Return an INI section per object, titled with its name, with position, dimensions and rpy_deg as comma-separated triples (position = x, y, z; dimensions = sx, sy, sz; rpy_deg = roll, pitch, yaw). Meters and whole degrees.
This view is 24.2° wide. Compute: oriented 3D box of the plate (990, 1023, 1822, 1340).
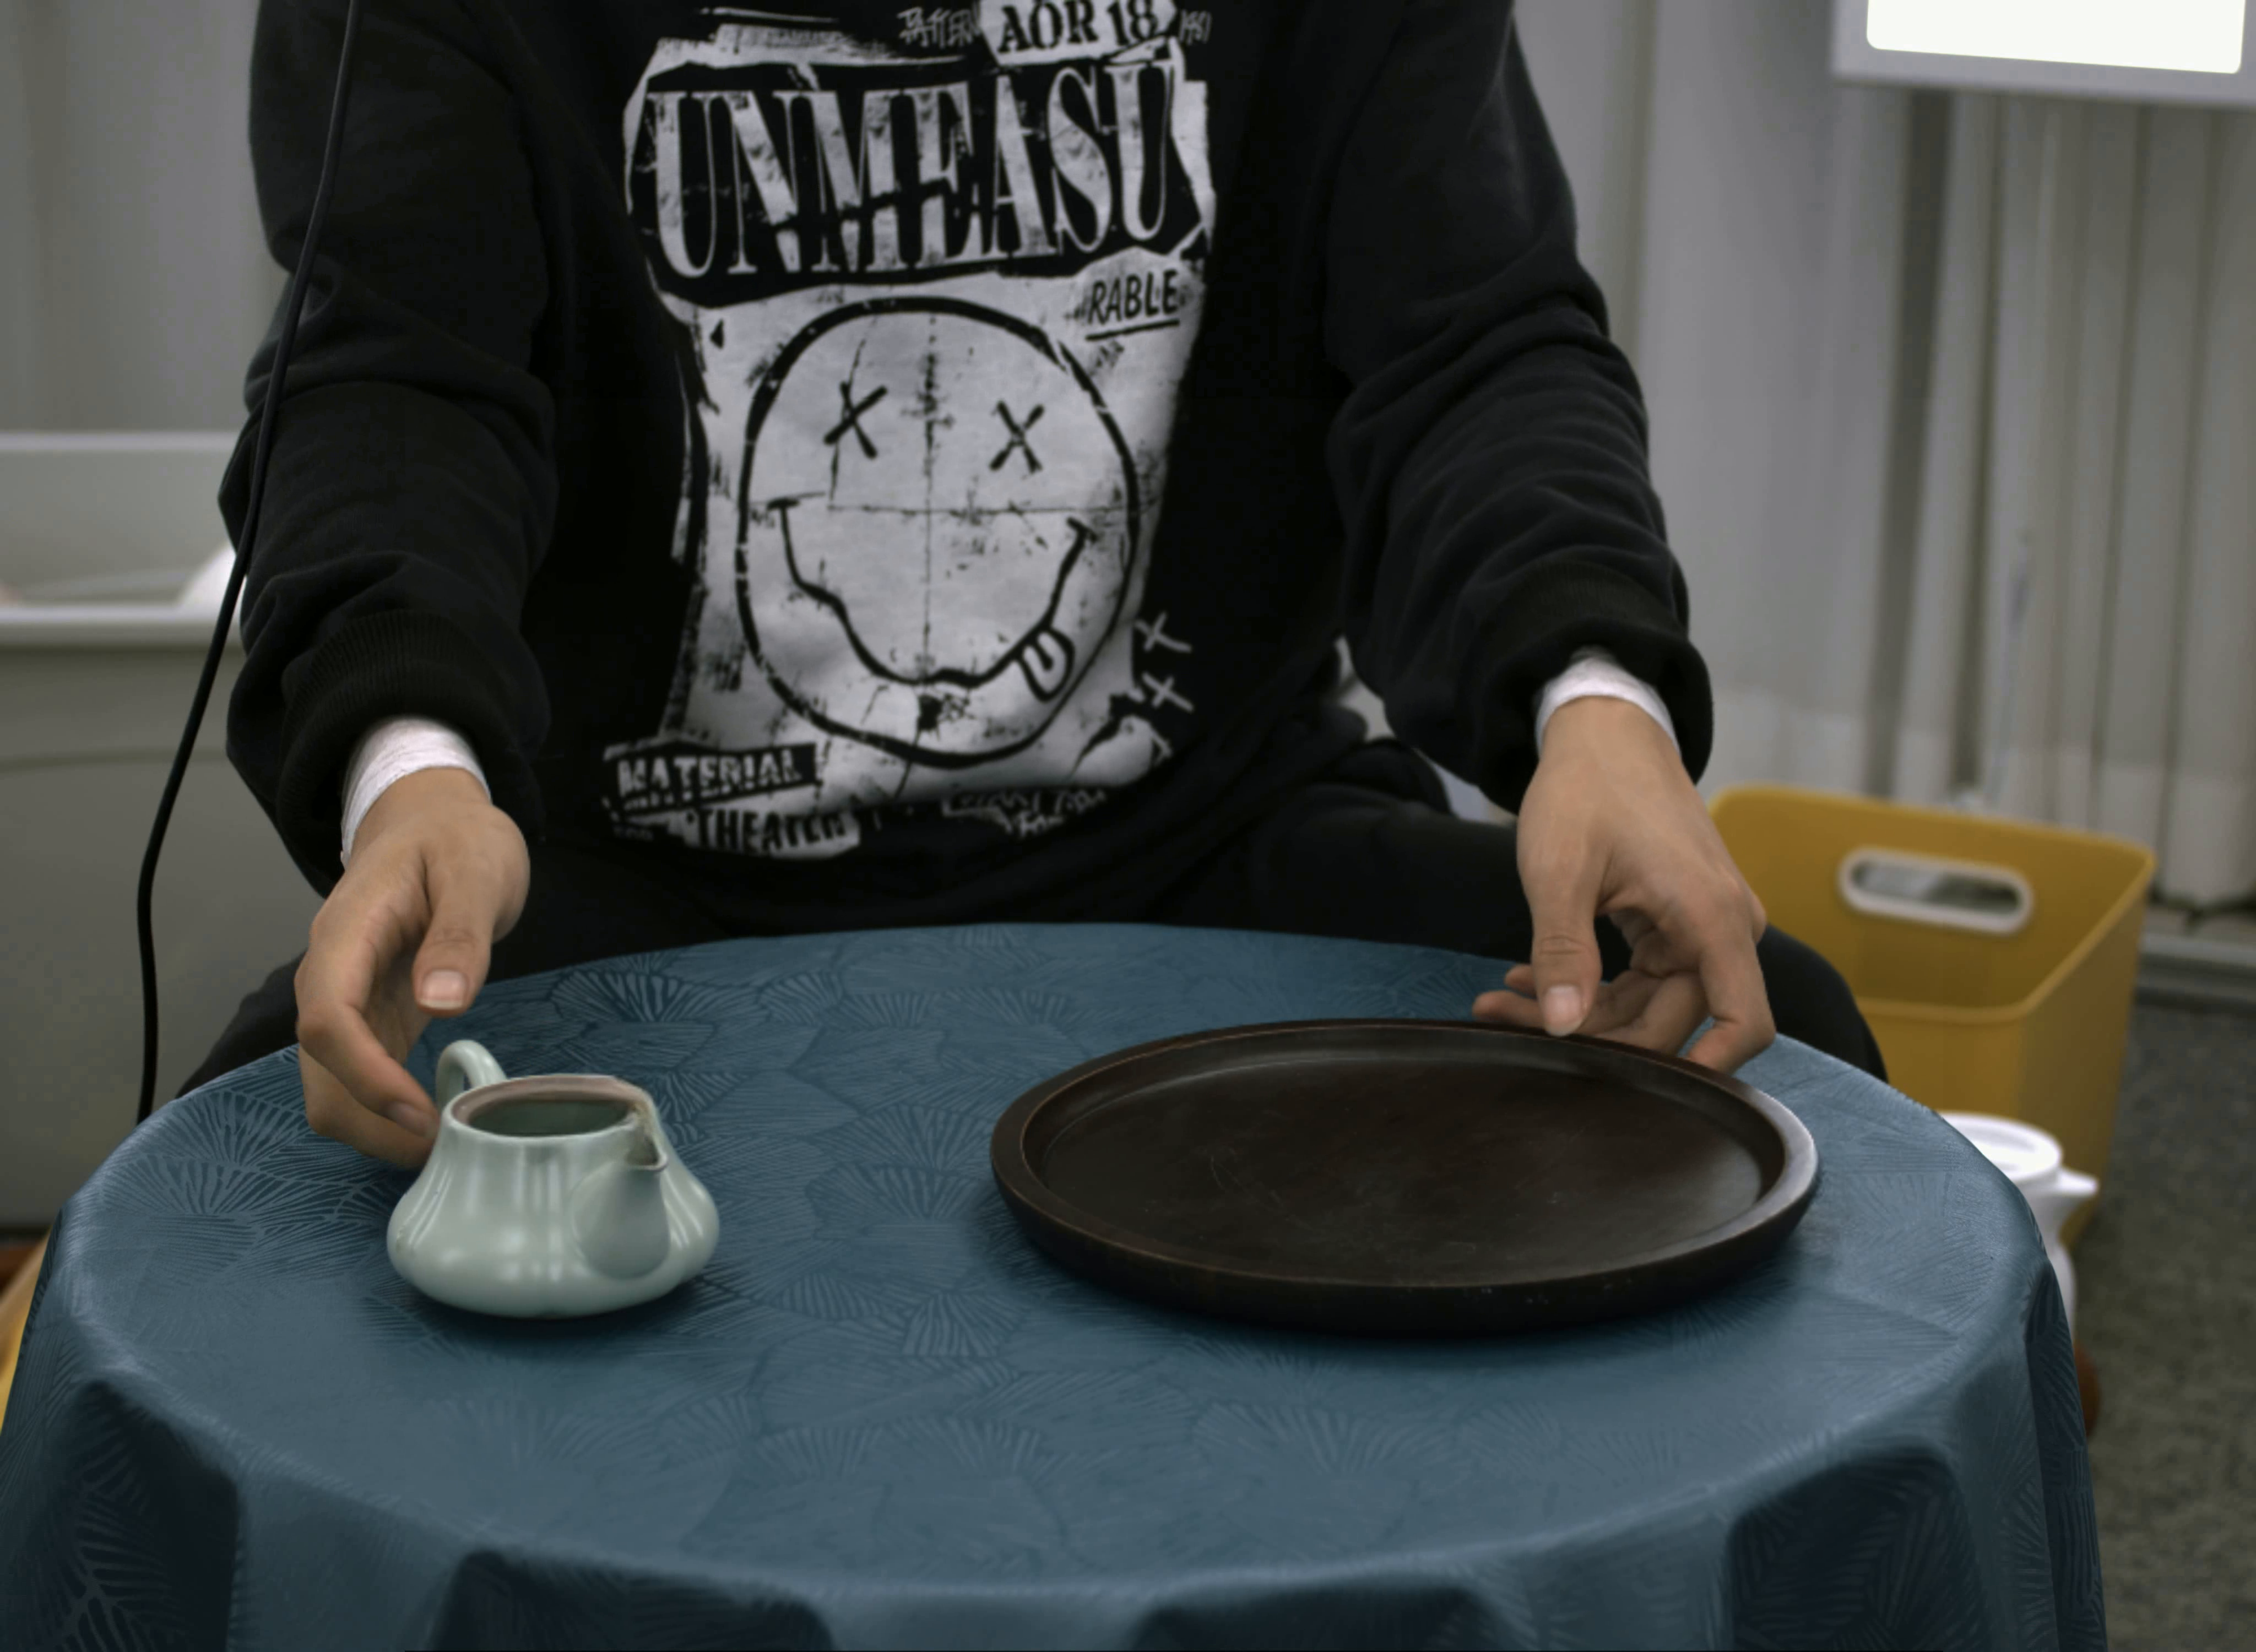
[plate]
position = 0.084, 0.105, 1.606
dimensions = 0.254, 0.029, 0.253
rpy_deg = 0, 17, 1

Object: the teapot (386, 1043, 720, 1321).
[teapot]
position = -0.170, 0.105, 1.530
dimensions = 0.096, 0.062, 0.135
rpy_deg = -12, 20, -34
